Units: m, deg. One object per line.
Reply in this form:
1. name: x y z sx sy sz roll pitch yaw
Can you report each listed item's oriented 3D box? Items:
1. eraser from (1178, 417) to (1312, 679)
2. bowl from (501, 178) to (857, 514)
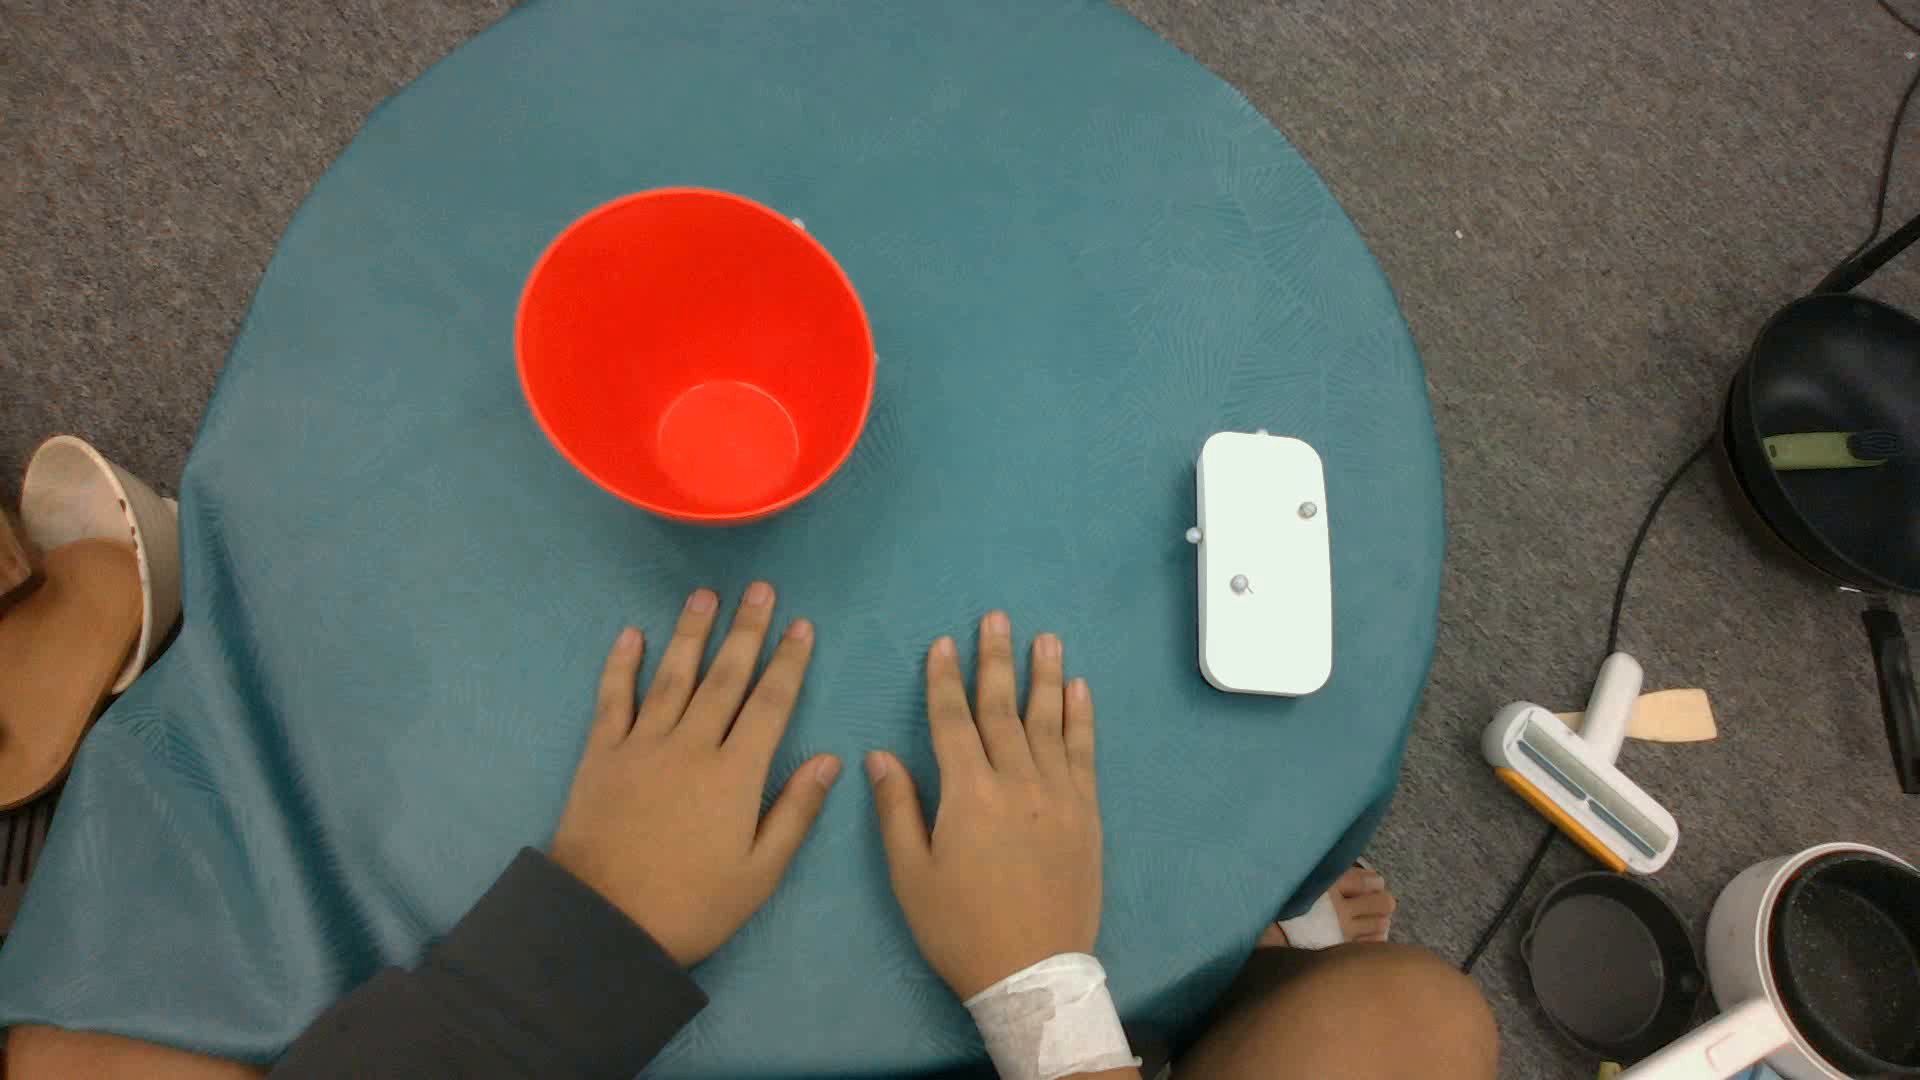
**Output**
1. eraser: 0.136 0.003 0.671 0.063 0.034 0.132 6 68 -6
2. bowl: -0.122 -0.073 0.621 0.148 0.104 0.148 3 71 -9
